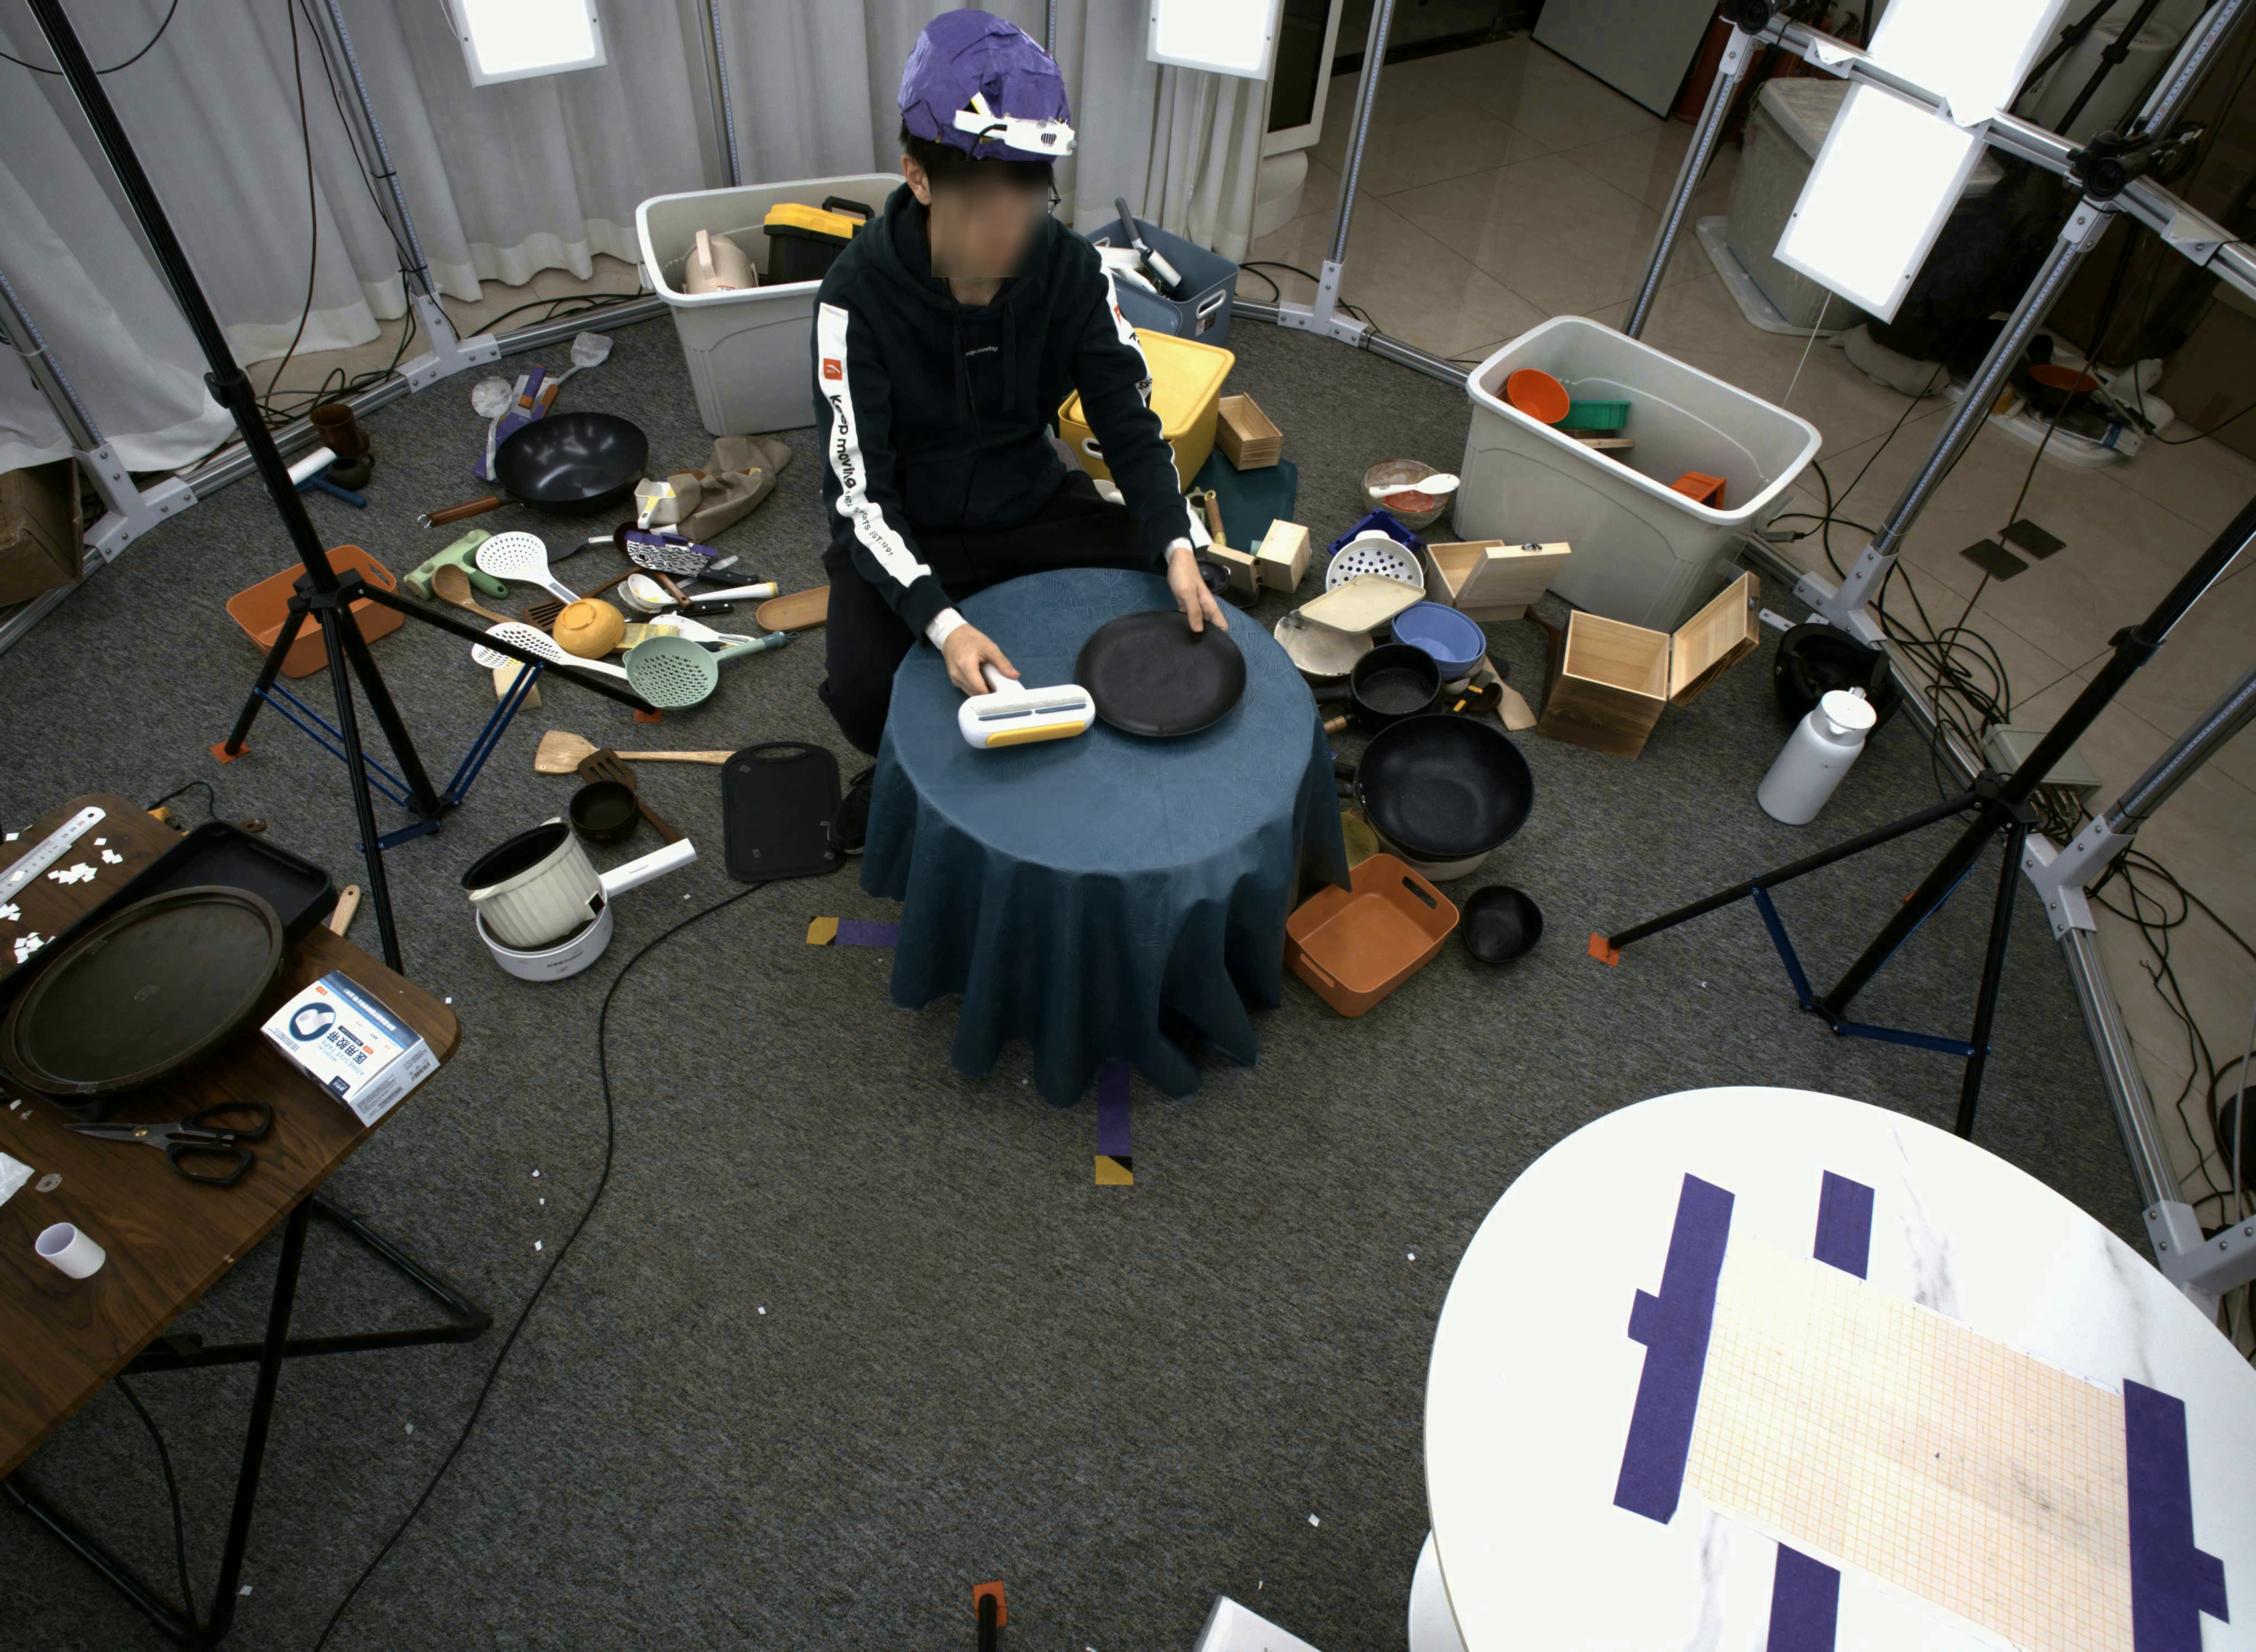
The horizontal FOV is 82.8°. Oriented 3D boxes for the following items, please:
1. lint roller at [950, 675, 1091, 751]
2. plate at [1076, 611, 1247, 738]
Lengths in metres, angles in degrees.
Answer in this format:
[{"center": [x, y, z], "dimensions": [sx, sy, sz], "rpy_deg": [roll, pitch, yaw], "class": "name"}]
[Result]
[{"center": [-0.165, -0.171, 1.783], "dimensions": [0.192, 0.072, 0.197], "rpy_deg": [-7, 38, -21], "class": "lint roller"}, {"center": [0.048, -0.214, 1.833], "dimensions": [0.244, 0.023, 0.250], "rpy_deg": [0, 52, 0], "class": "plate"}]
